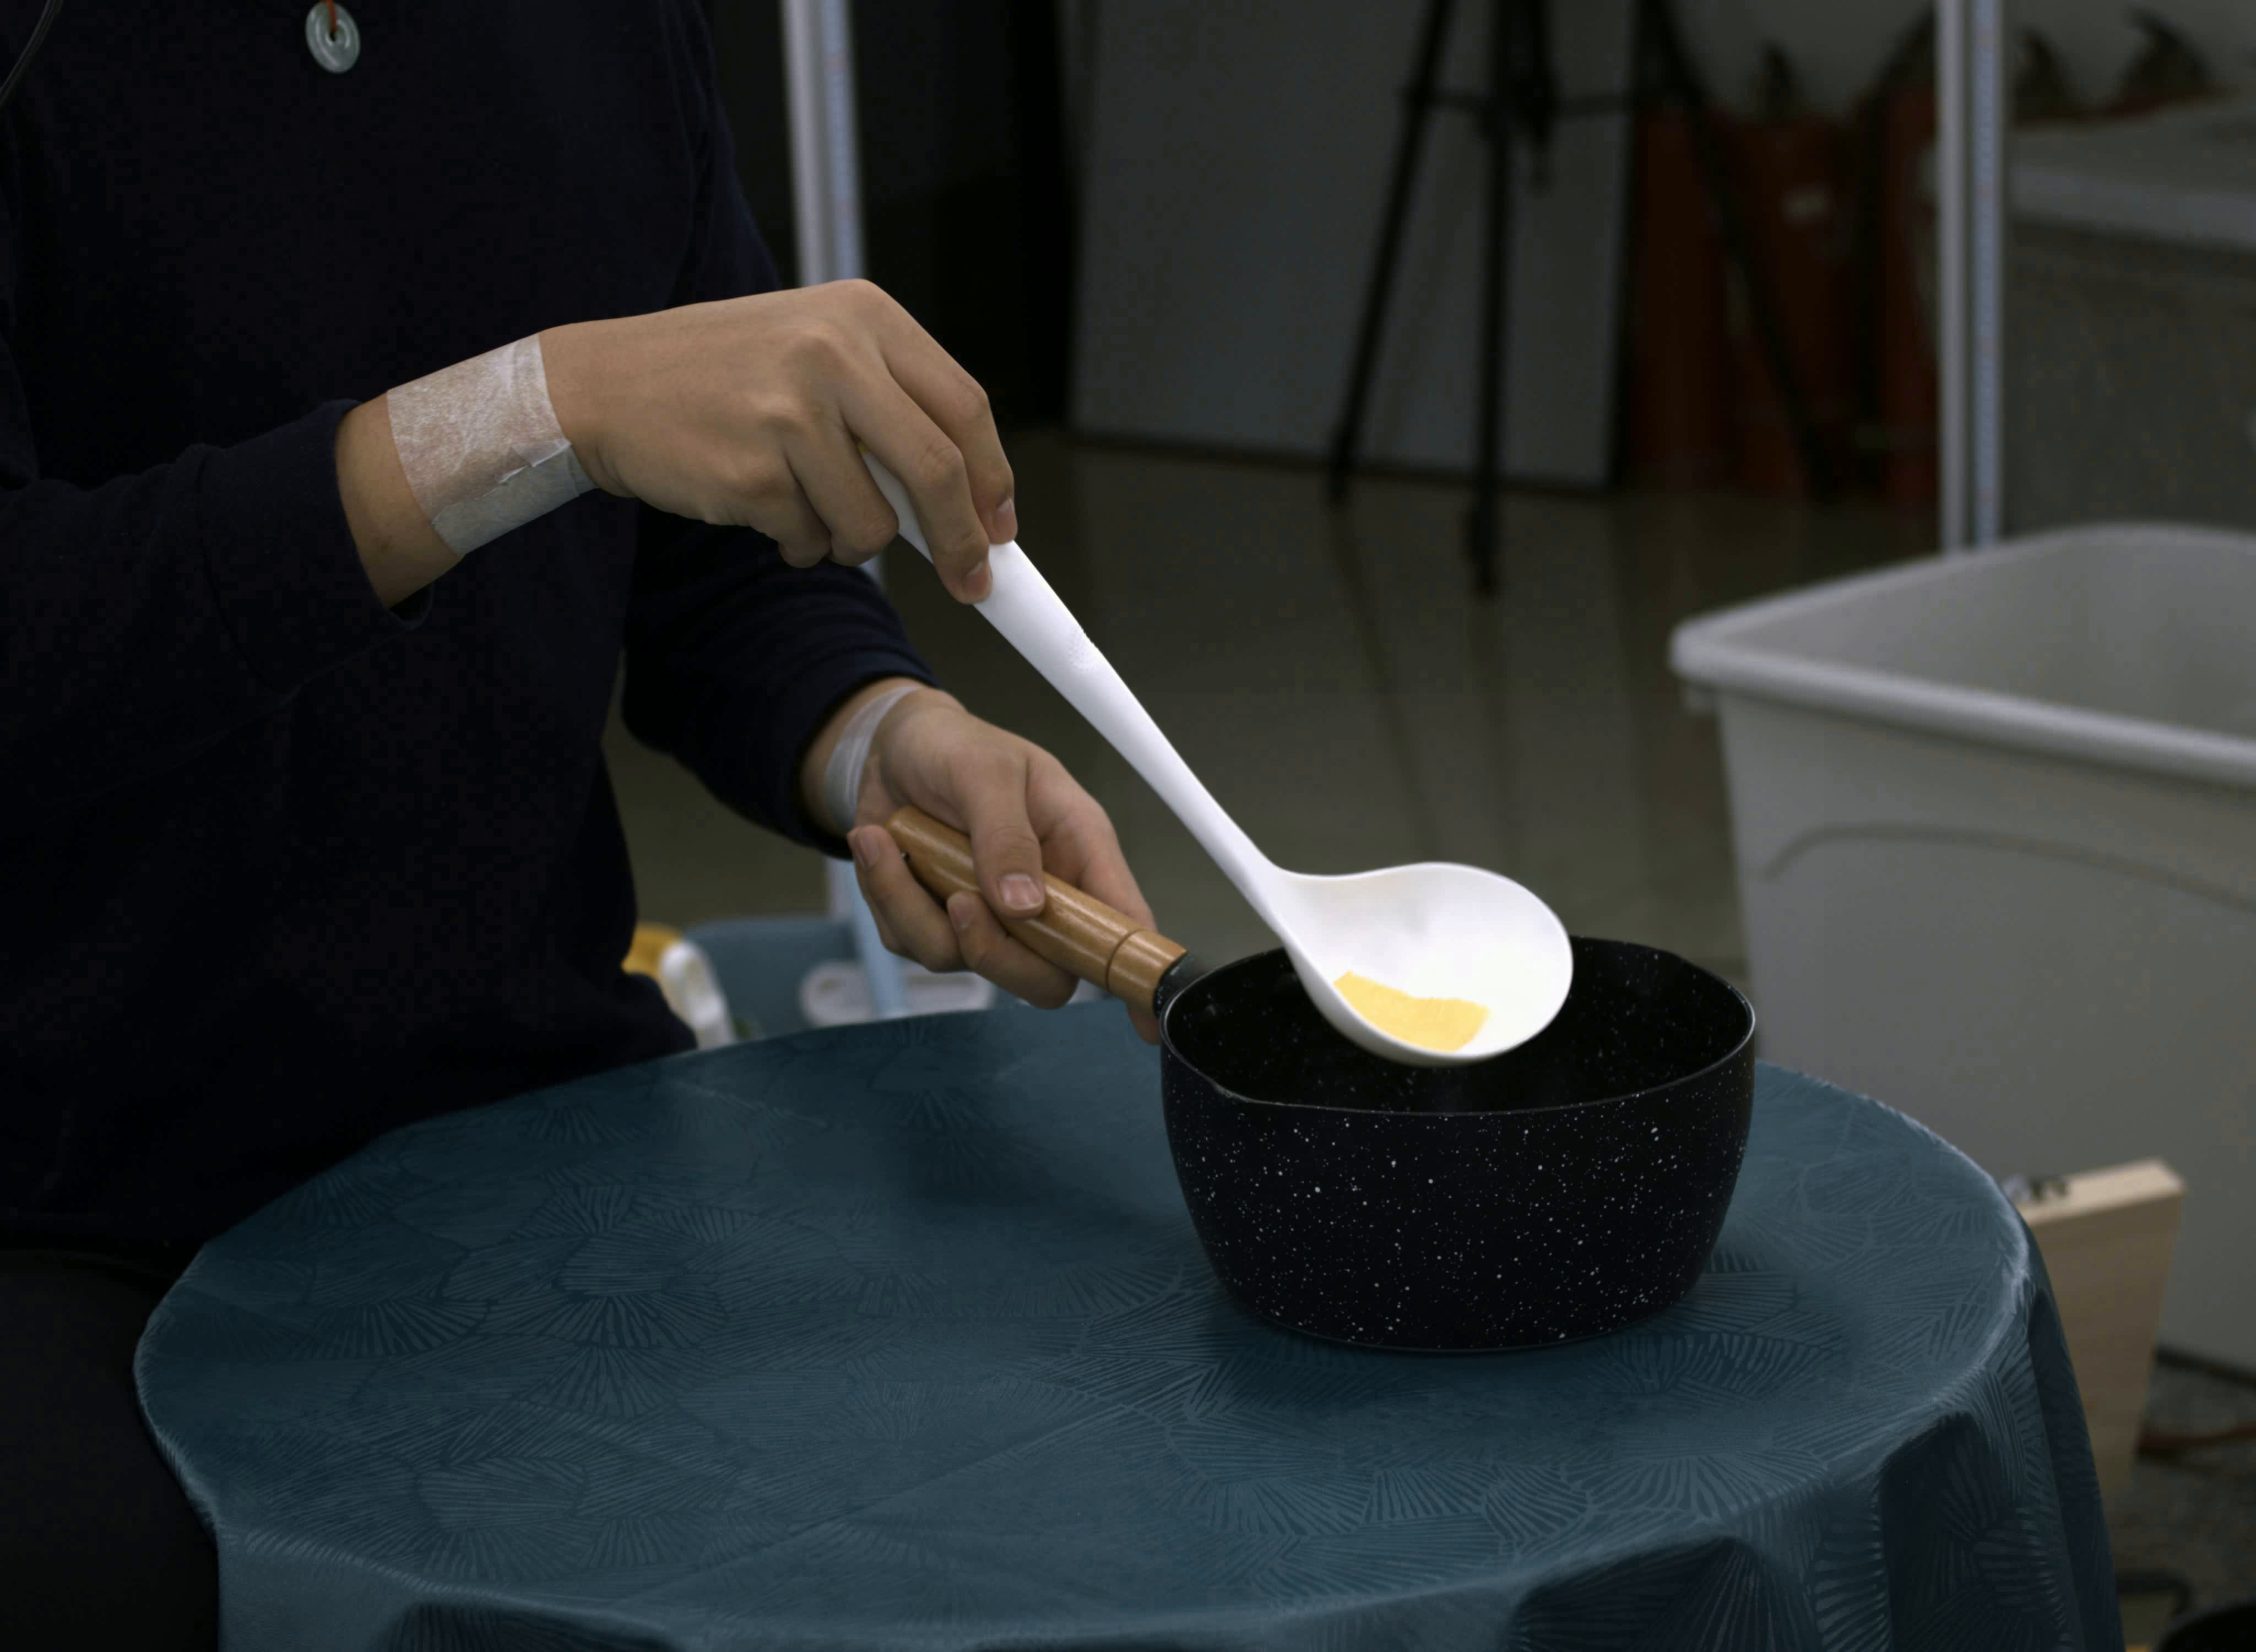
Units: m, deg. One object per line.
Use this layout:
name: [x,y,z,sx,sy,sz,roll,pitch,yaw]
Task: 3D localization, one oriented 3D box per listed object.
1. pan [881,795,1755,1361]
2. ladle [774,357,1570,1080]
pan: [0.043,0.073,1.704,0.346,0.109,0.203,14,23,42]
ladle: [0.012,-0.032,1.628,0.070,0.292,0.089,-28,19,47]
